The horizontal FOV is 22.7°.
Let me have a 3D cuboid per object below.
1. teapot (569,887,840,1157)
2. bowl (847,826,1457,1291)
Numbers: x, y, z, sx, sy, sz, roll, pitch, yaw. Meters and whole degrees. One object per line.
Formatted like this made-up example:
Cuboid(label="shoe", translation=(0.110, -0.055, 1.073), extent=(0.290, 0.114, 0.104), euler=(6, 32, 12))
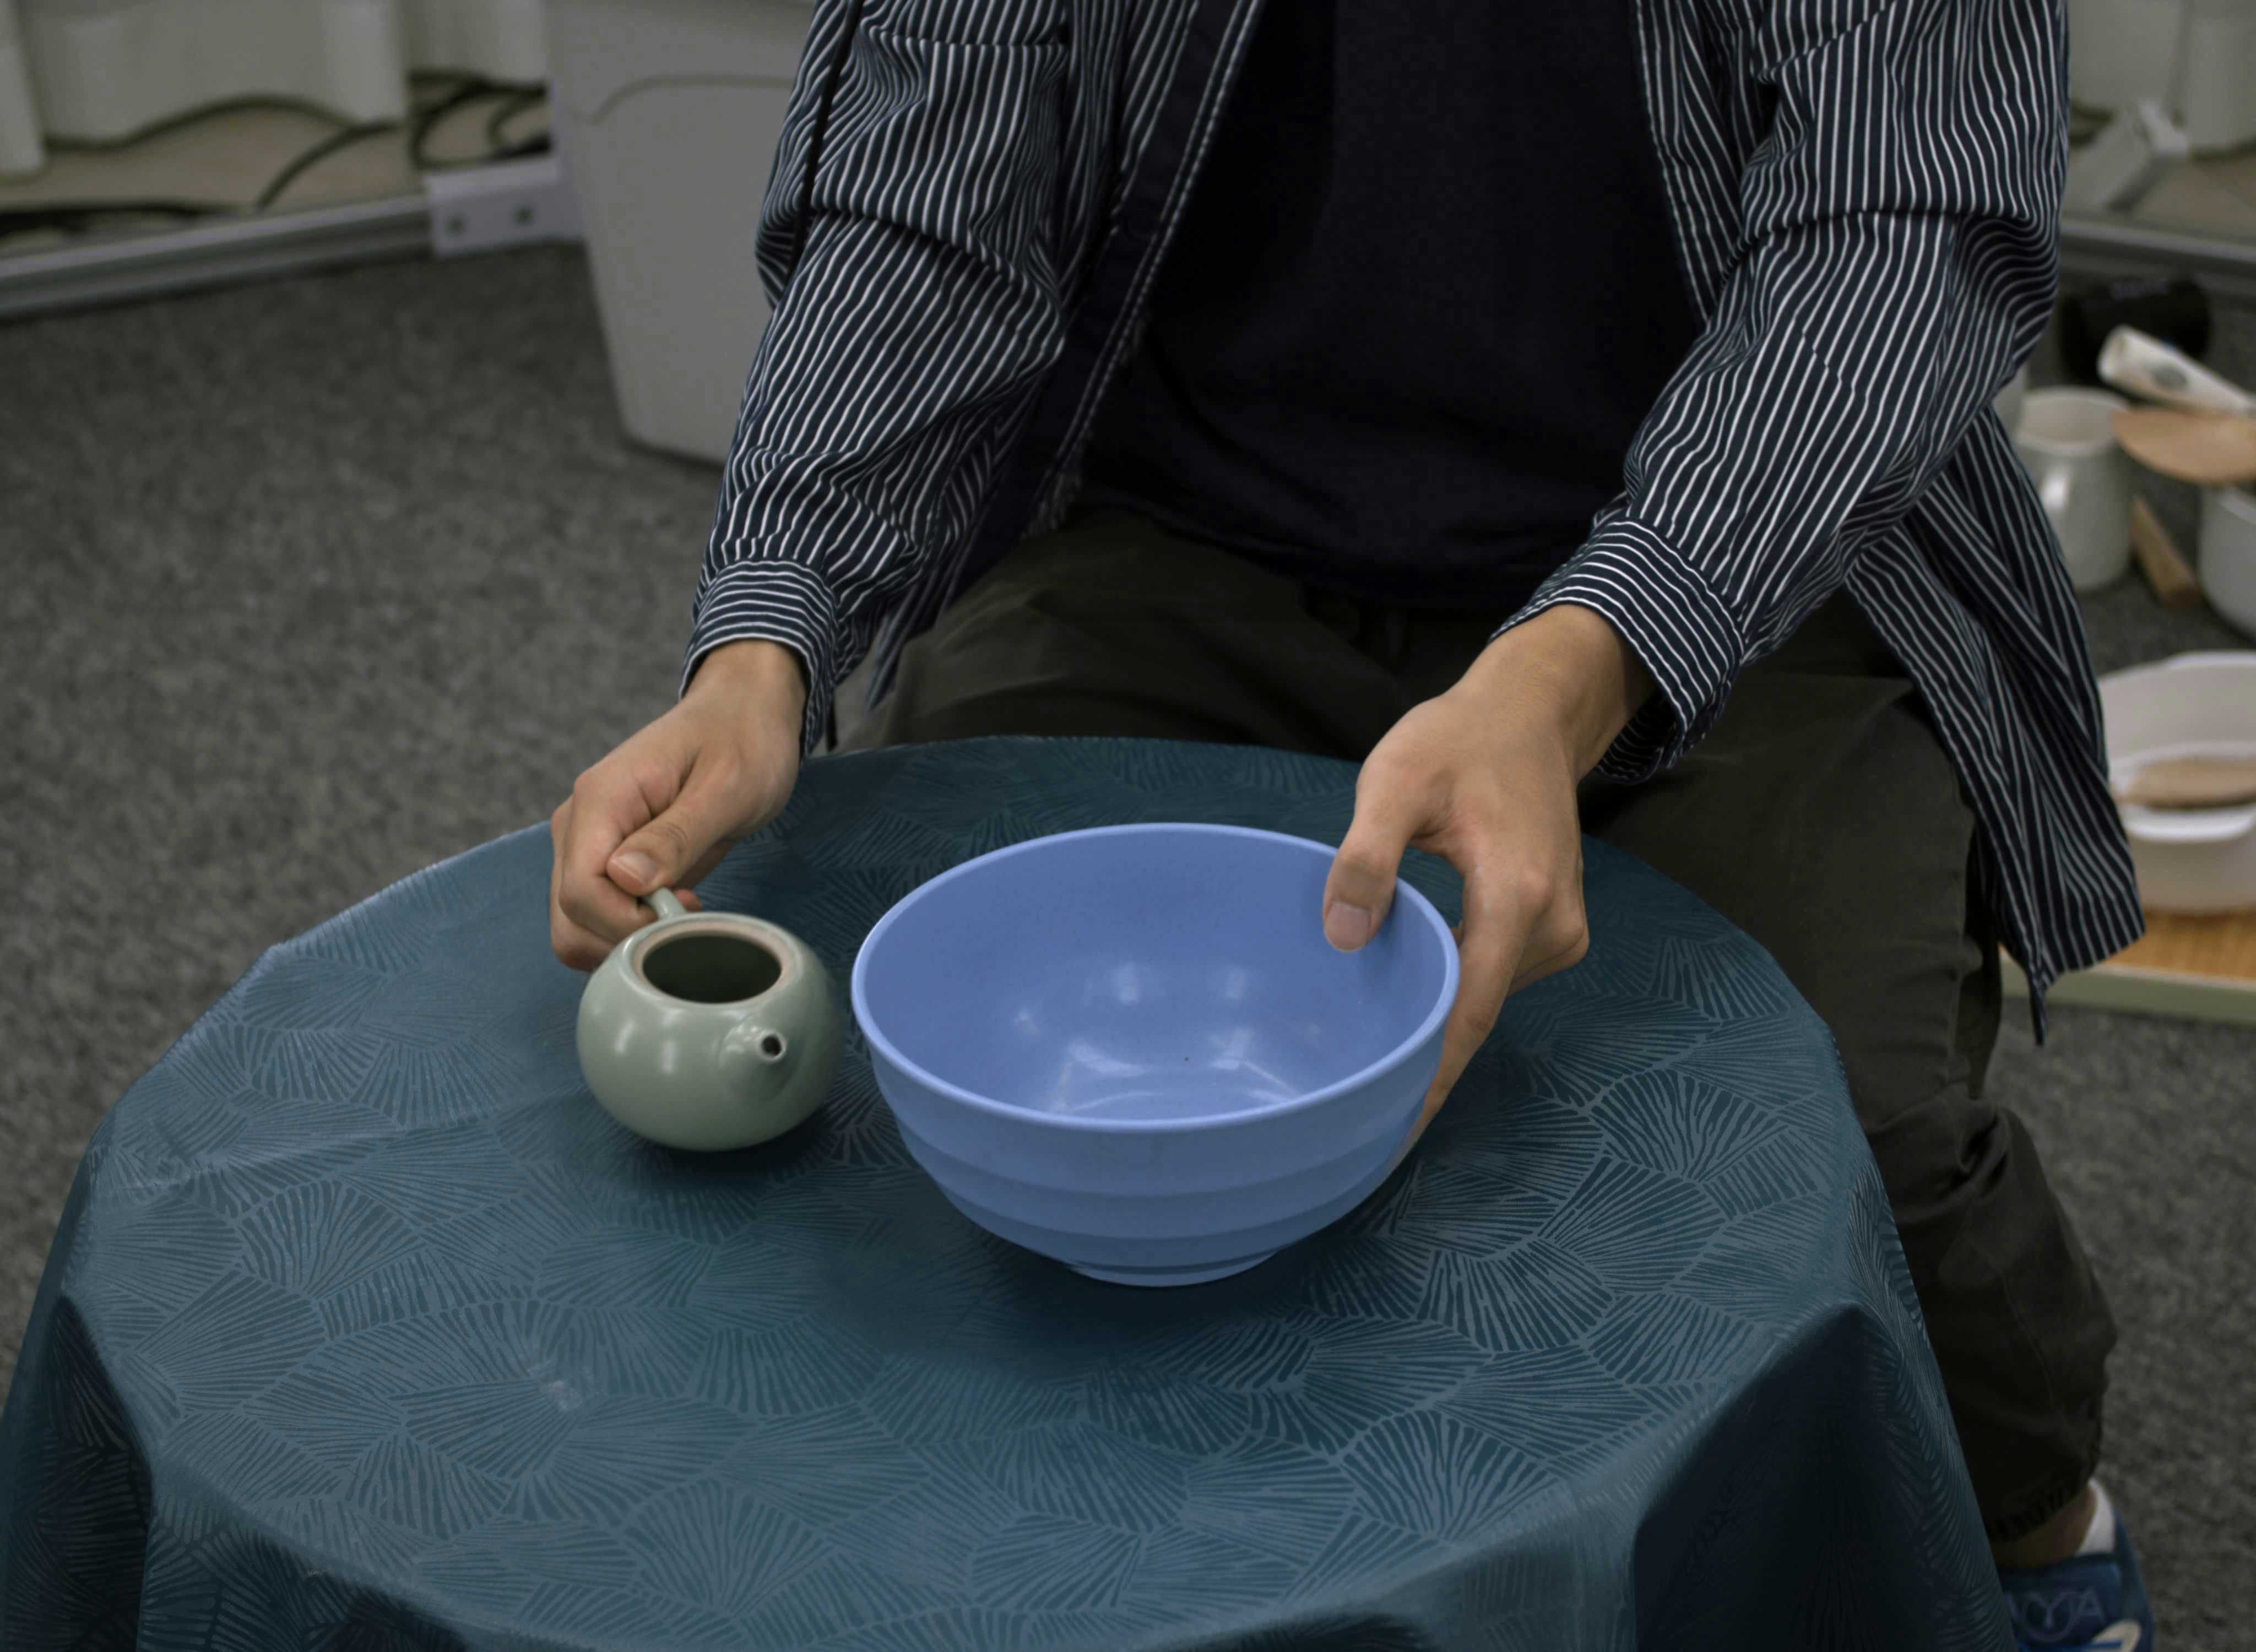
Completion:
Cuboid(label="teapot", translation=(-0.146, 0.067, 1.897), extent=(0.091, 0.060, 0.130), euler=(-9, 31, -19))
Cuboid(label="bowl", translation=(0.009, 0.086, 1.820), extent=(0.195, 0.094, 0.199), euler=(-2, 27, 1))
